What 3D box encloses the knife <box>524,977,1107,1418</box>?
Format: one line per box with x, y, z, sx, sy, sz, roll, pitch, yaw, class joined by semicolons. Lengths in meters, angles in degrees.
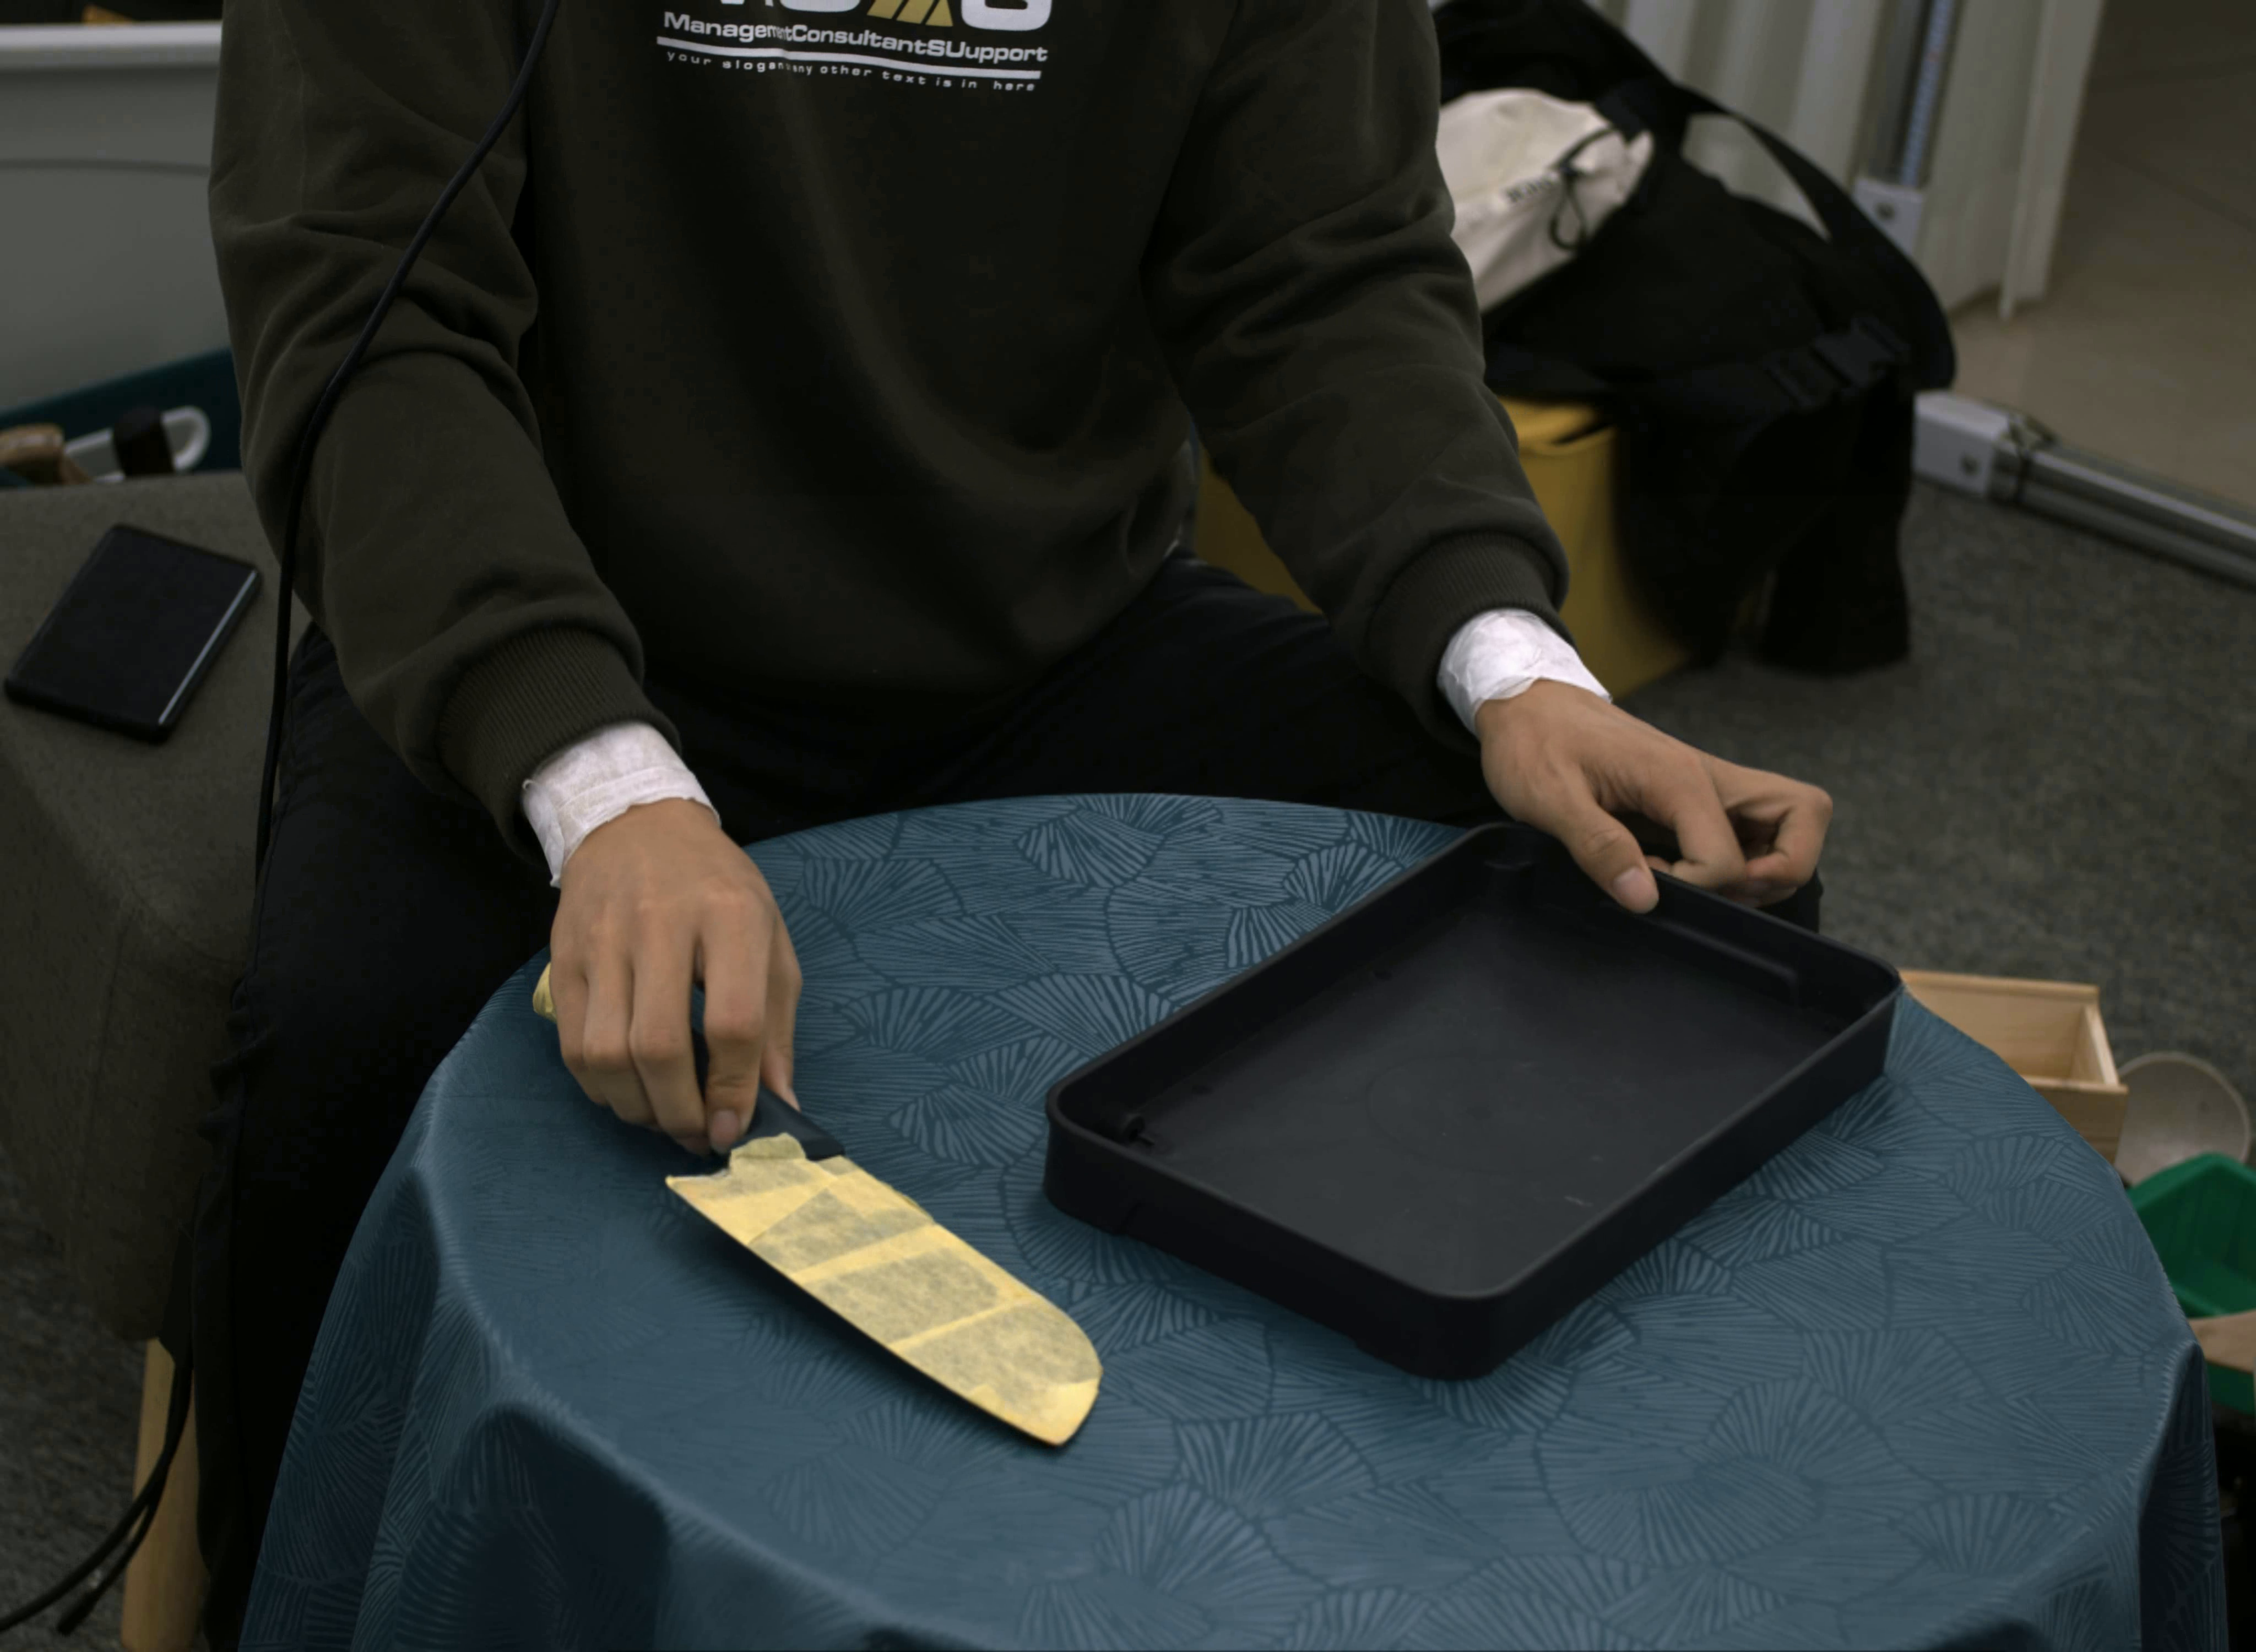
-0.112;0.123;1.754;0.080;0.027;0.292;-9;32;-46;knife

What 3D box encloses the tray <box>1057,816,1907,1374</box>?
0.128;0.087;1.867;0.185;0.037;0.317;21;30;28;tray
